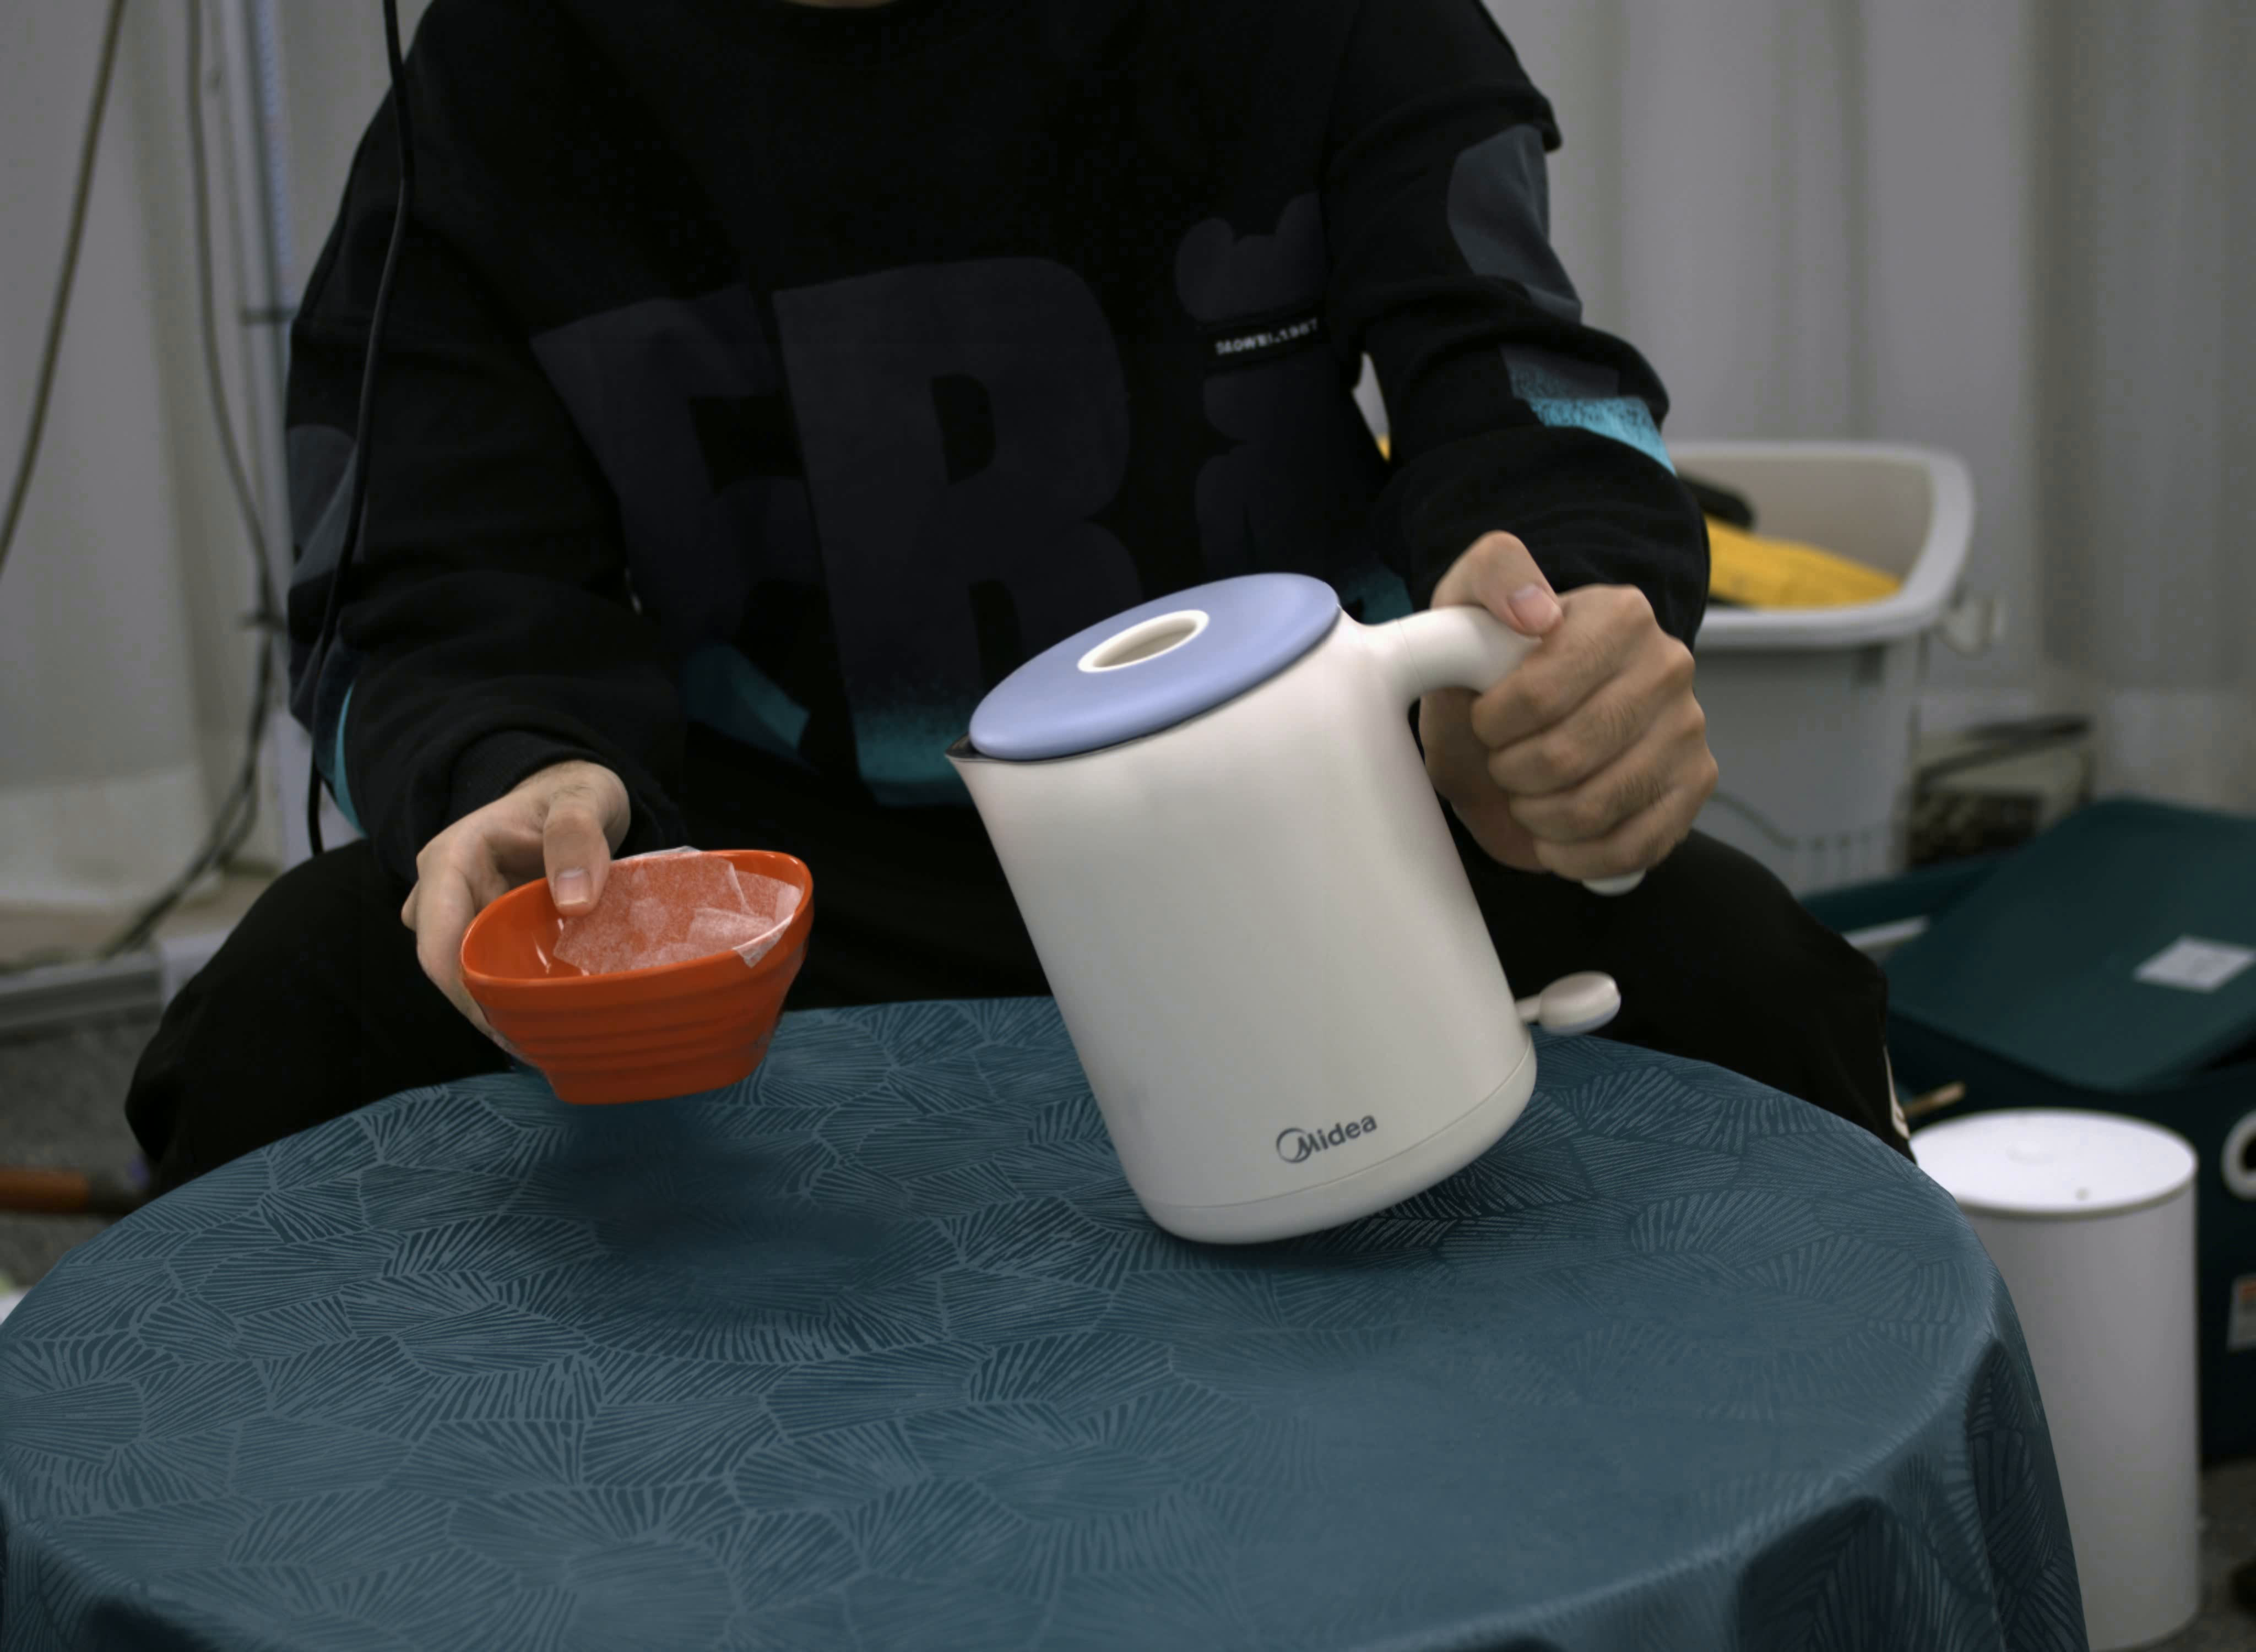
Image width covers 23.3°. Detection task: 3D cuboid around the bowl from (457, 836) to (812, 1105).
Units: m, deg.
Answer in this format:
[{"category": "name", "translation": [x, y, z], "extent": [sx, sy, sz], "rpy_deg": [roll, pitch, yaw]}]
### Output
[{"category": "bowl", "translation": [-0.148, 0.048, 1.692], "extent": [0.118, 0.051, 0.120], "rpy_deg": [-10, 20, 3]}]

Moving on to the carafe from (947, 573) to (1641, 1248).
[{"category": "carafe", "translation": [0.059, 0.017, 1.661], "extent": [0.190, 0.181, 0.133], "rpy_deg": [-18, 17, 1]}]
